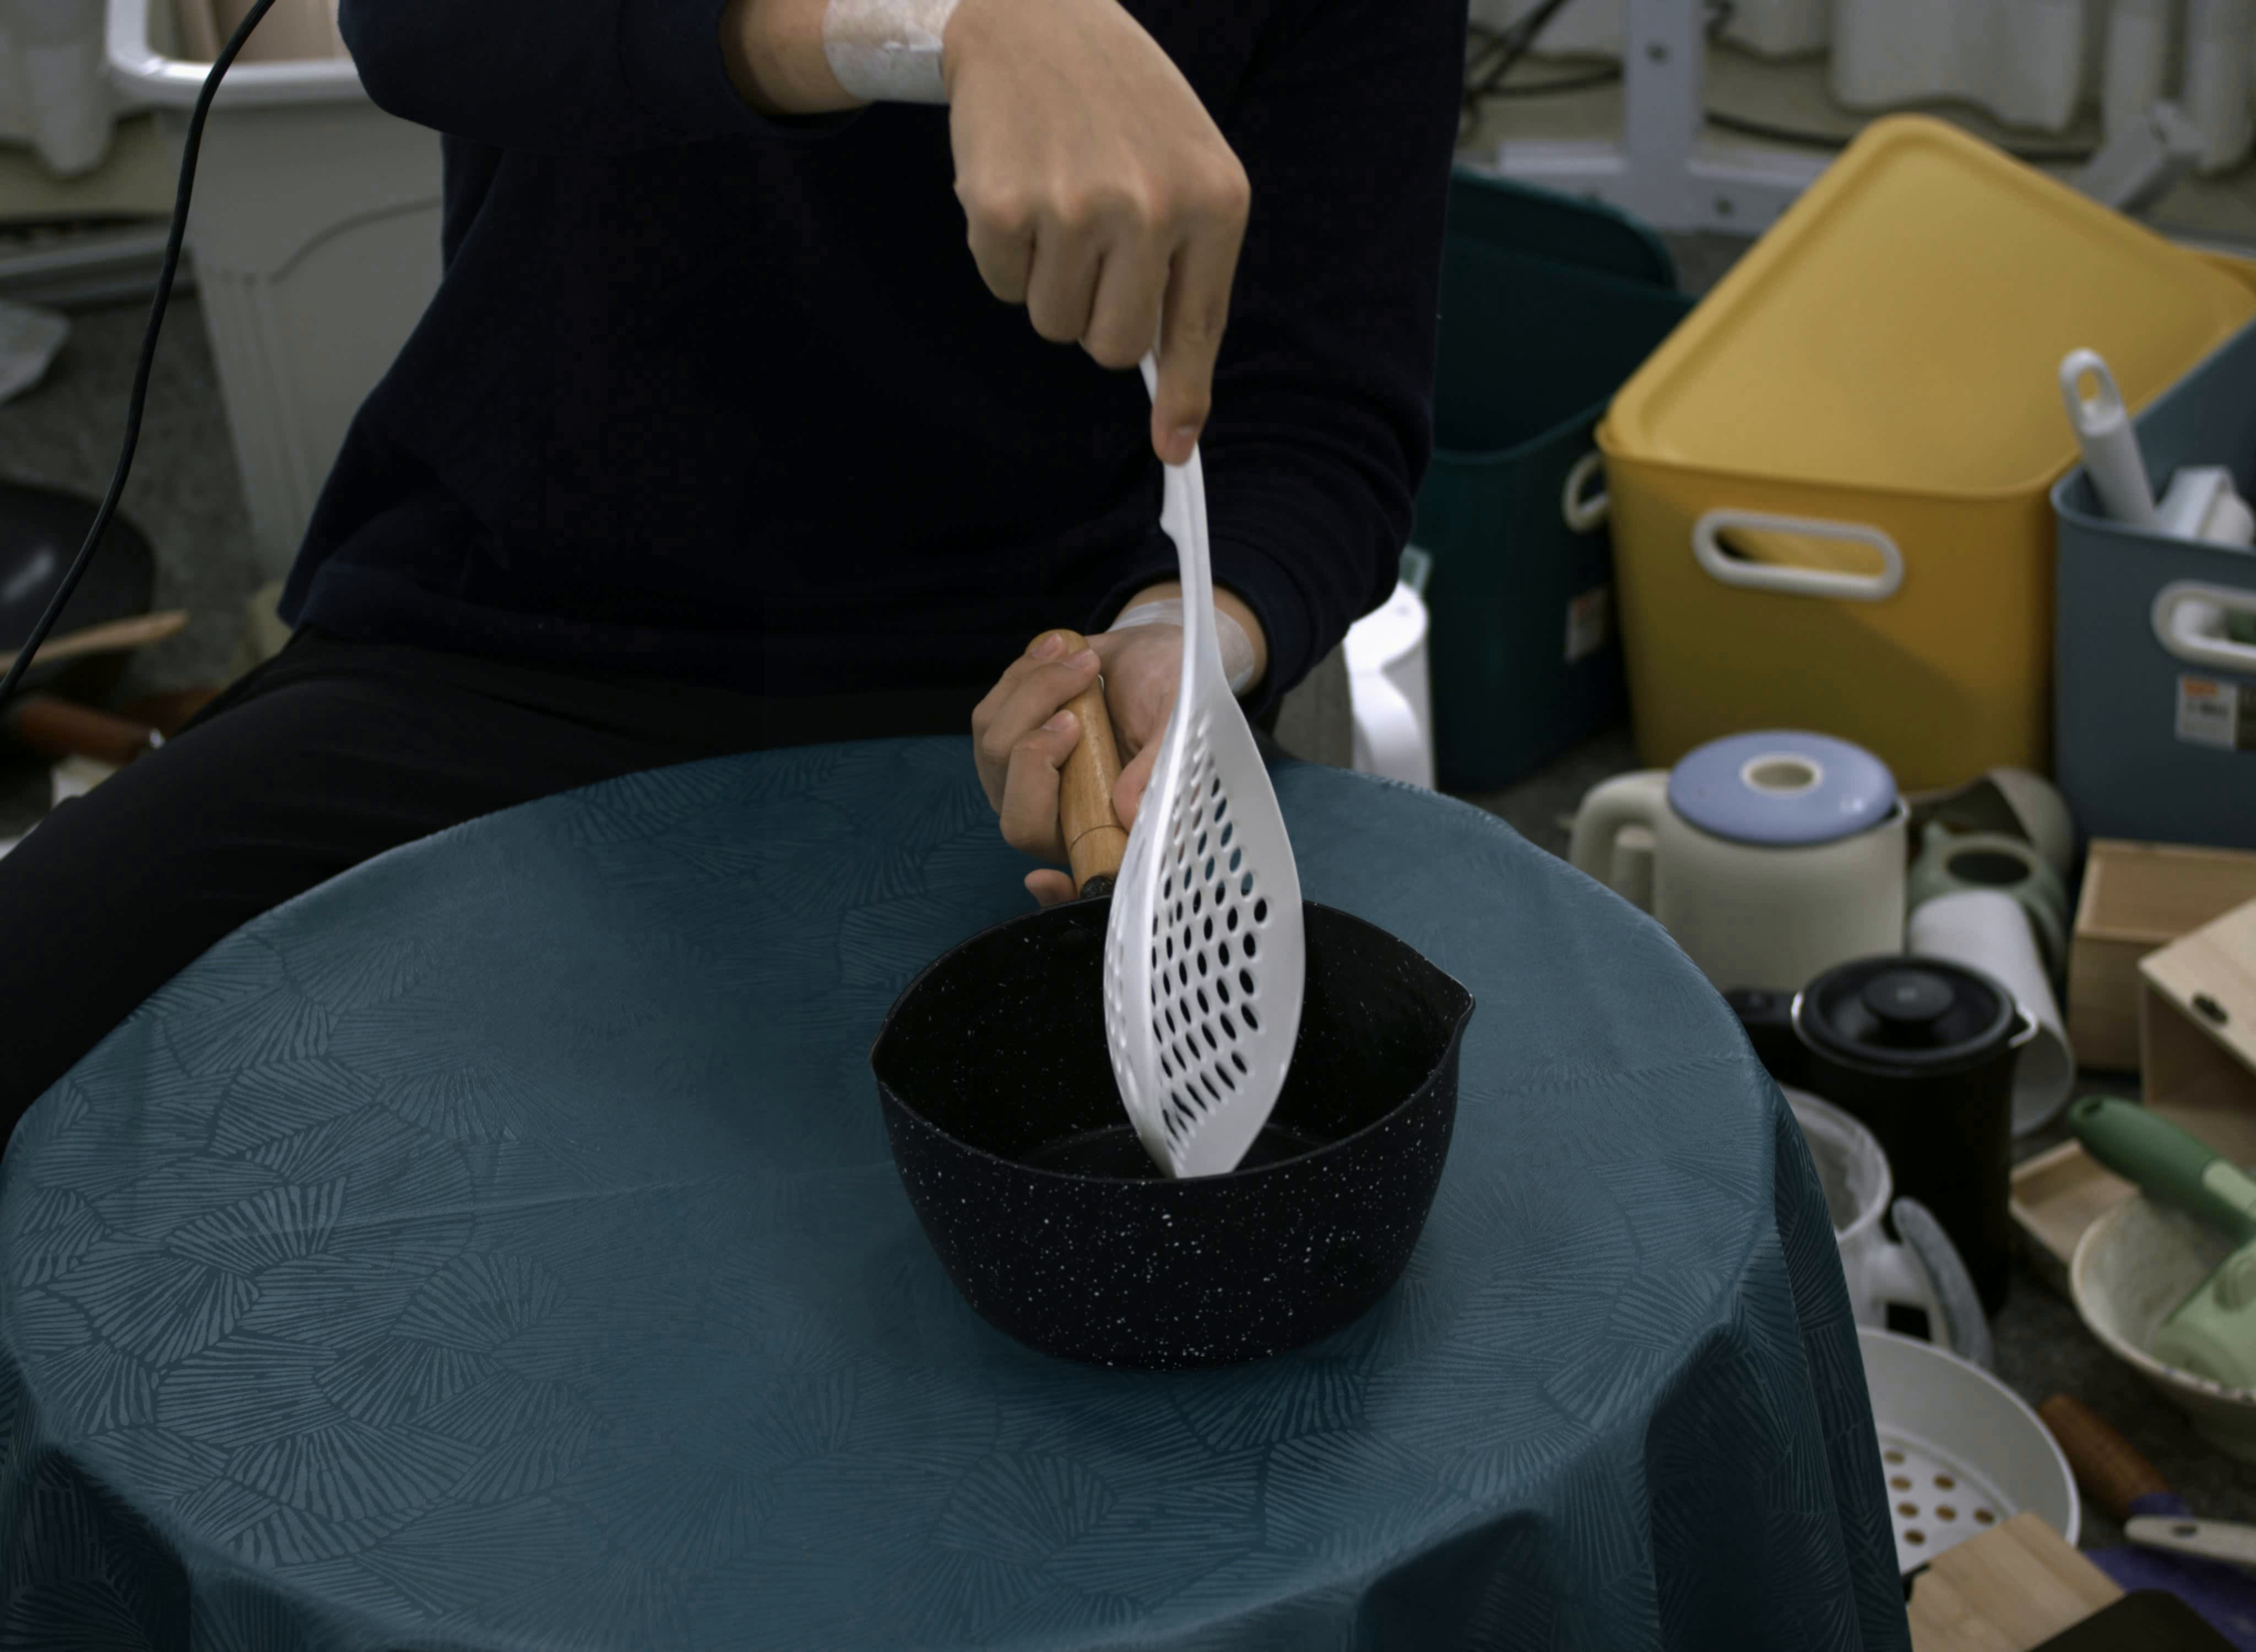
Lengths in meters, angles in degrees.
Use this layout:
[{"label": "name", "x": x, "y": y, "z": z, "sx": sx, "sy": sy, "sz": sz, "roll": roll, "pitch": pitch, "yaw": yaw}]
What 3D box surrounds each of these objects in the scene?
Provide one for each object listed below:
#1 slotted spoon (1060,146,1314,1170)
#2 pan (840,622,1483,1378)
[{"label": "slotted spoon", "x": 0.011, "y": -0.049, "z": 1.763, "sx": 0.050, "sy": 0.344, "sz": 0.139, "roll": 9, "pitch": 29, "yaw": 20}, {"label": "pan", "x": 0.001, "y": 0.054, "z": 1.875, "sx": 0.207, "sy": 0.107, "sz": 0.347, "roll": -8, "pitch": 29, "yaw": -7}]
